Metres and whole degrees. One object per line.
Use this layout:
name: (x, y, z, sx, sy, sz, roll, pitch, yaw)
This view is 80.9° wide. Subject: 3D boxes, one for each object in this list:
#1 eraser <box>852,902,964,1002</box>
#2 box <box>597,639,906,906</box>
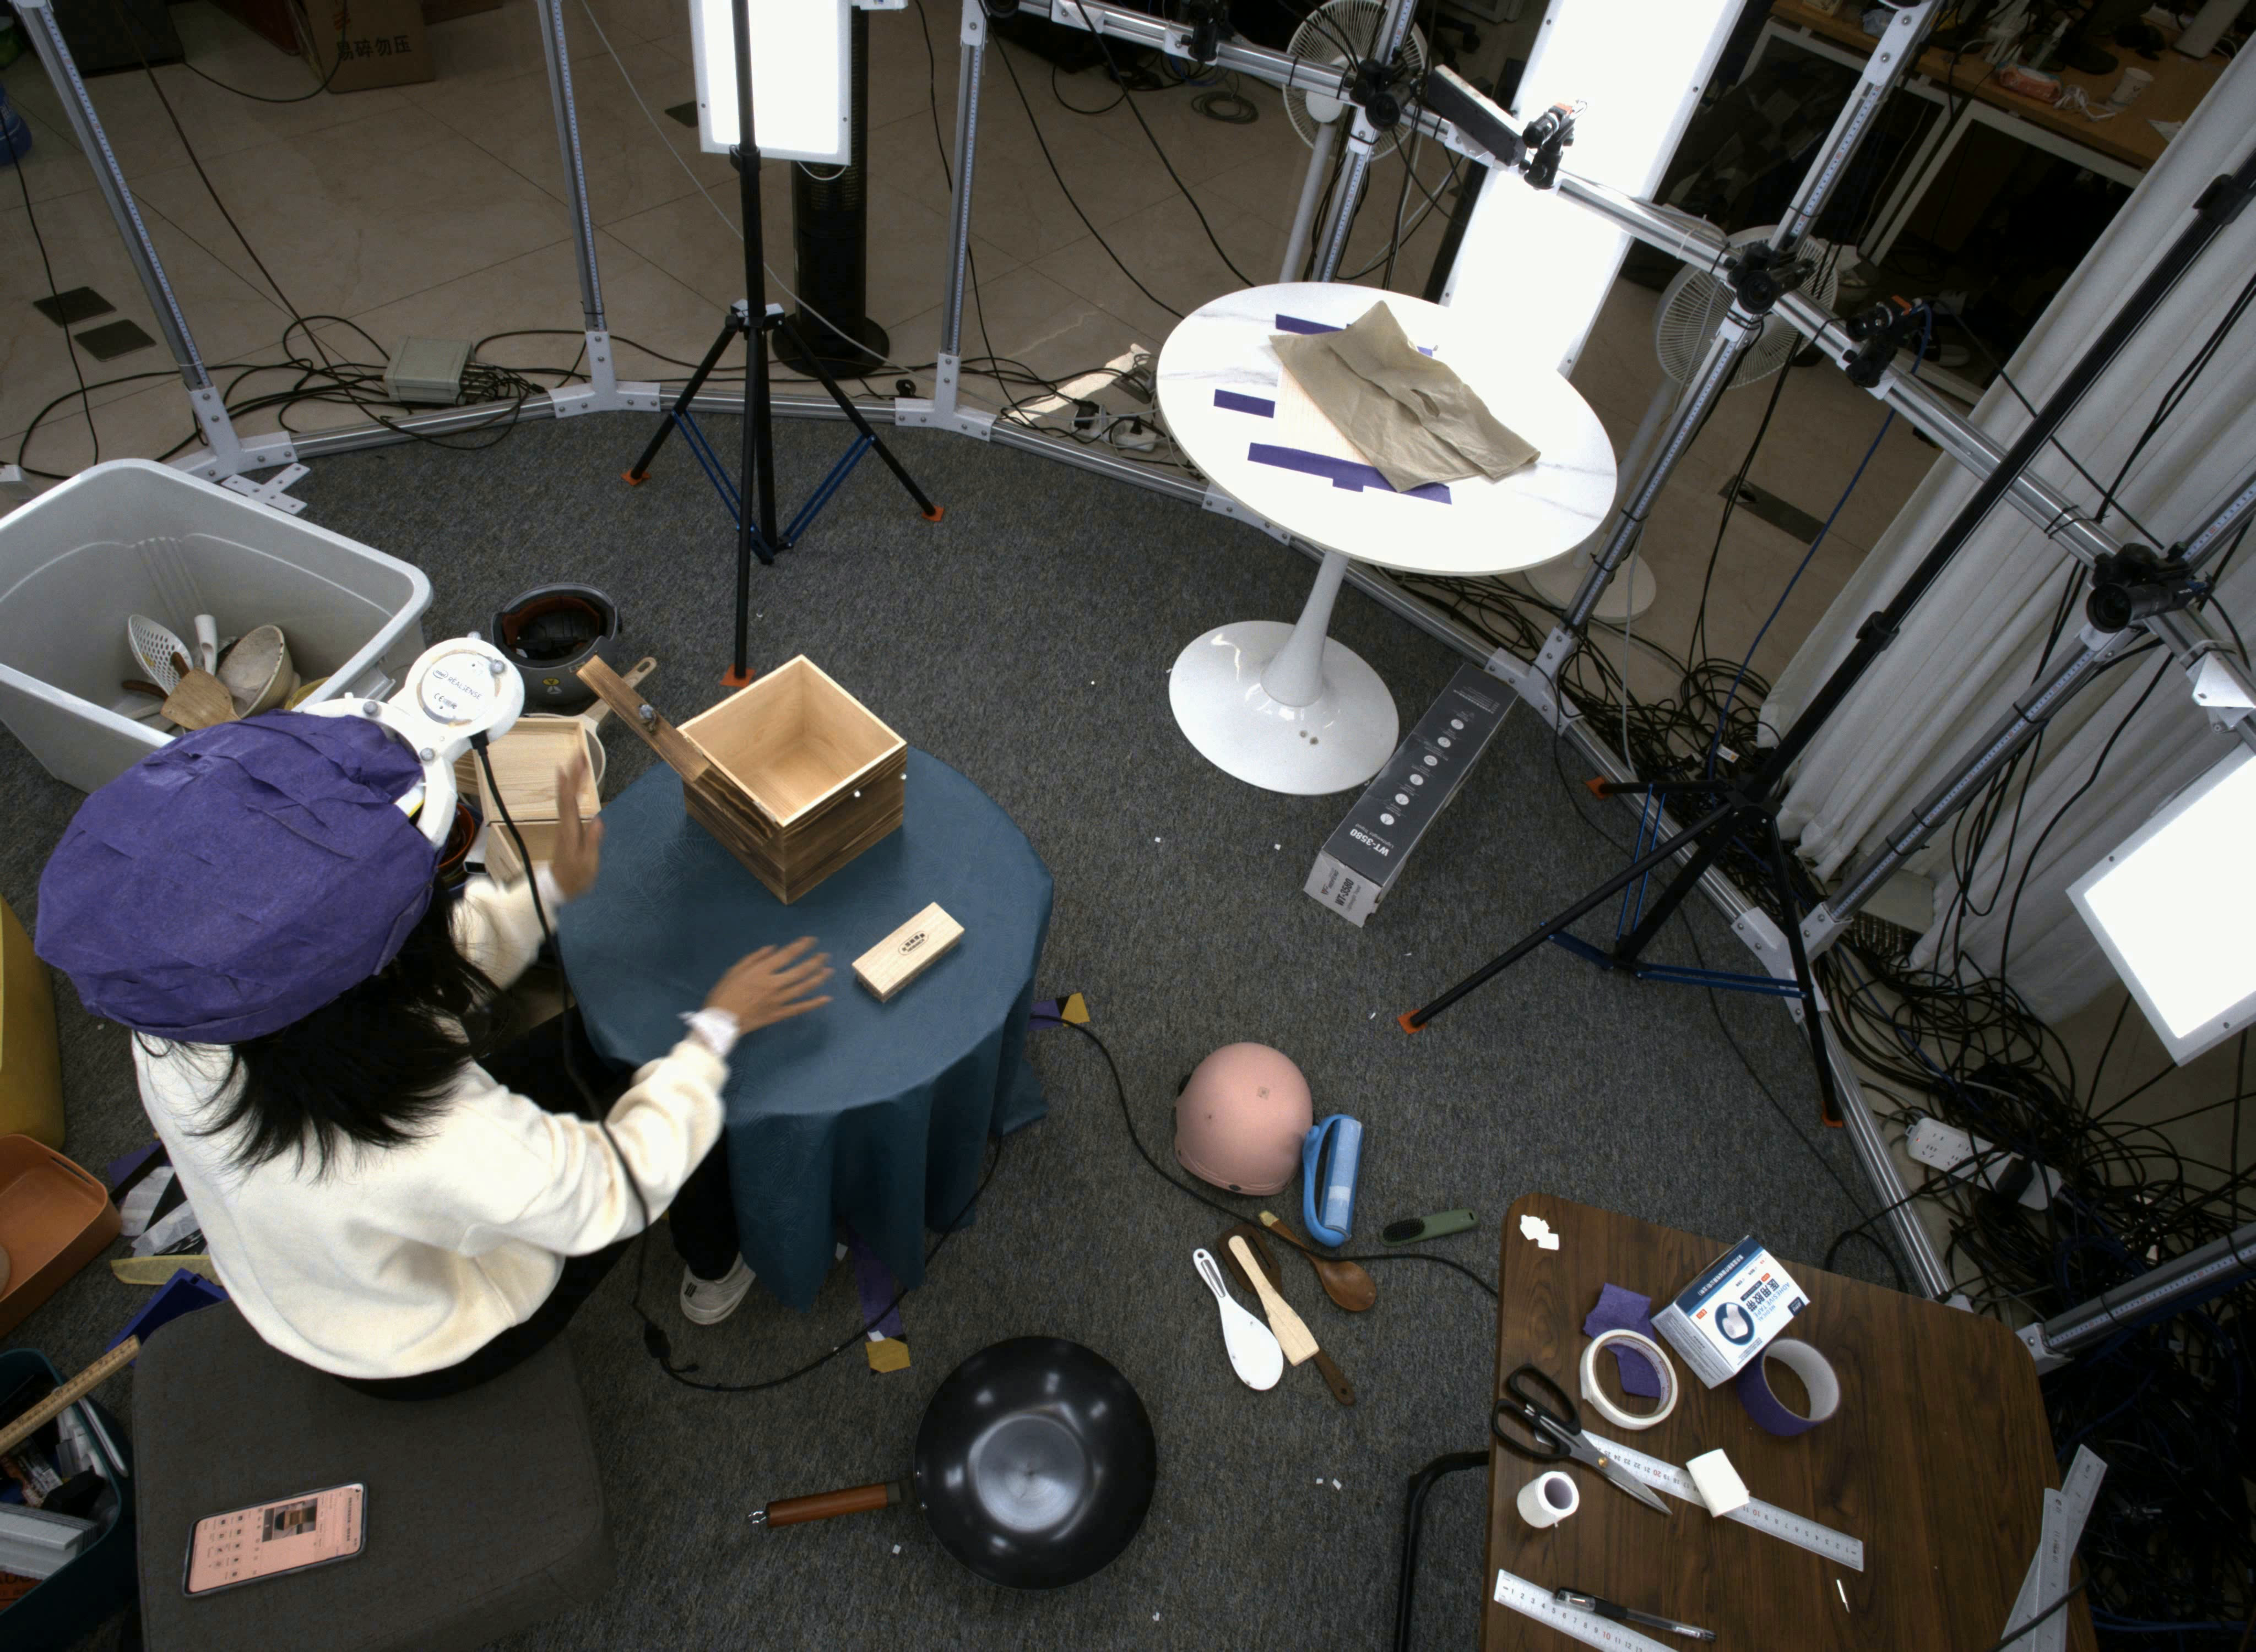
eraser: (-0.274, 0.155, 1.625, 0.056, 0.029, 0.139, 42, 56, 14)
box: (-0.445, -0.096, 1.549, 0.204, 0.383, 0.322, 38, 54, 16)
